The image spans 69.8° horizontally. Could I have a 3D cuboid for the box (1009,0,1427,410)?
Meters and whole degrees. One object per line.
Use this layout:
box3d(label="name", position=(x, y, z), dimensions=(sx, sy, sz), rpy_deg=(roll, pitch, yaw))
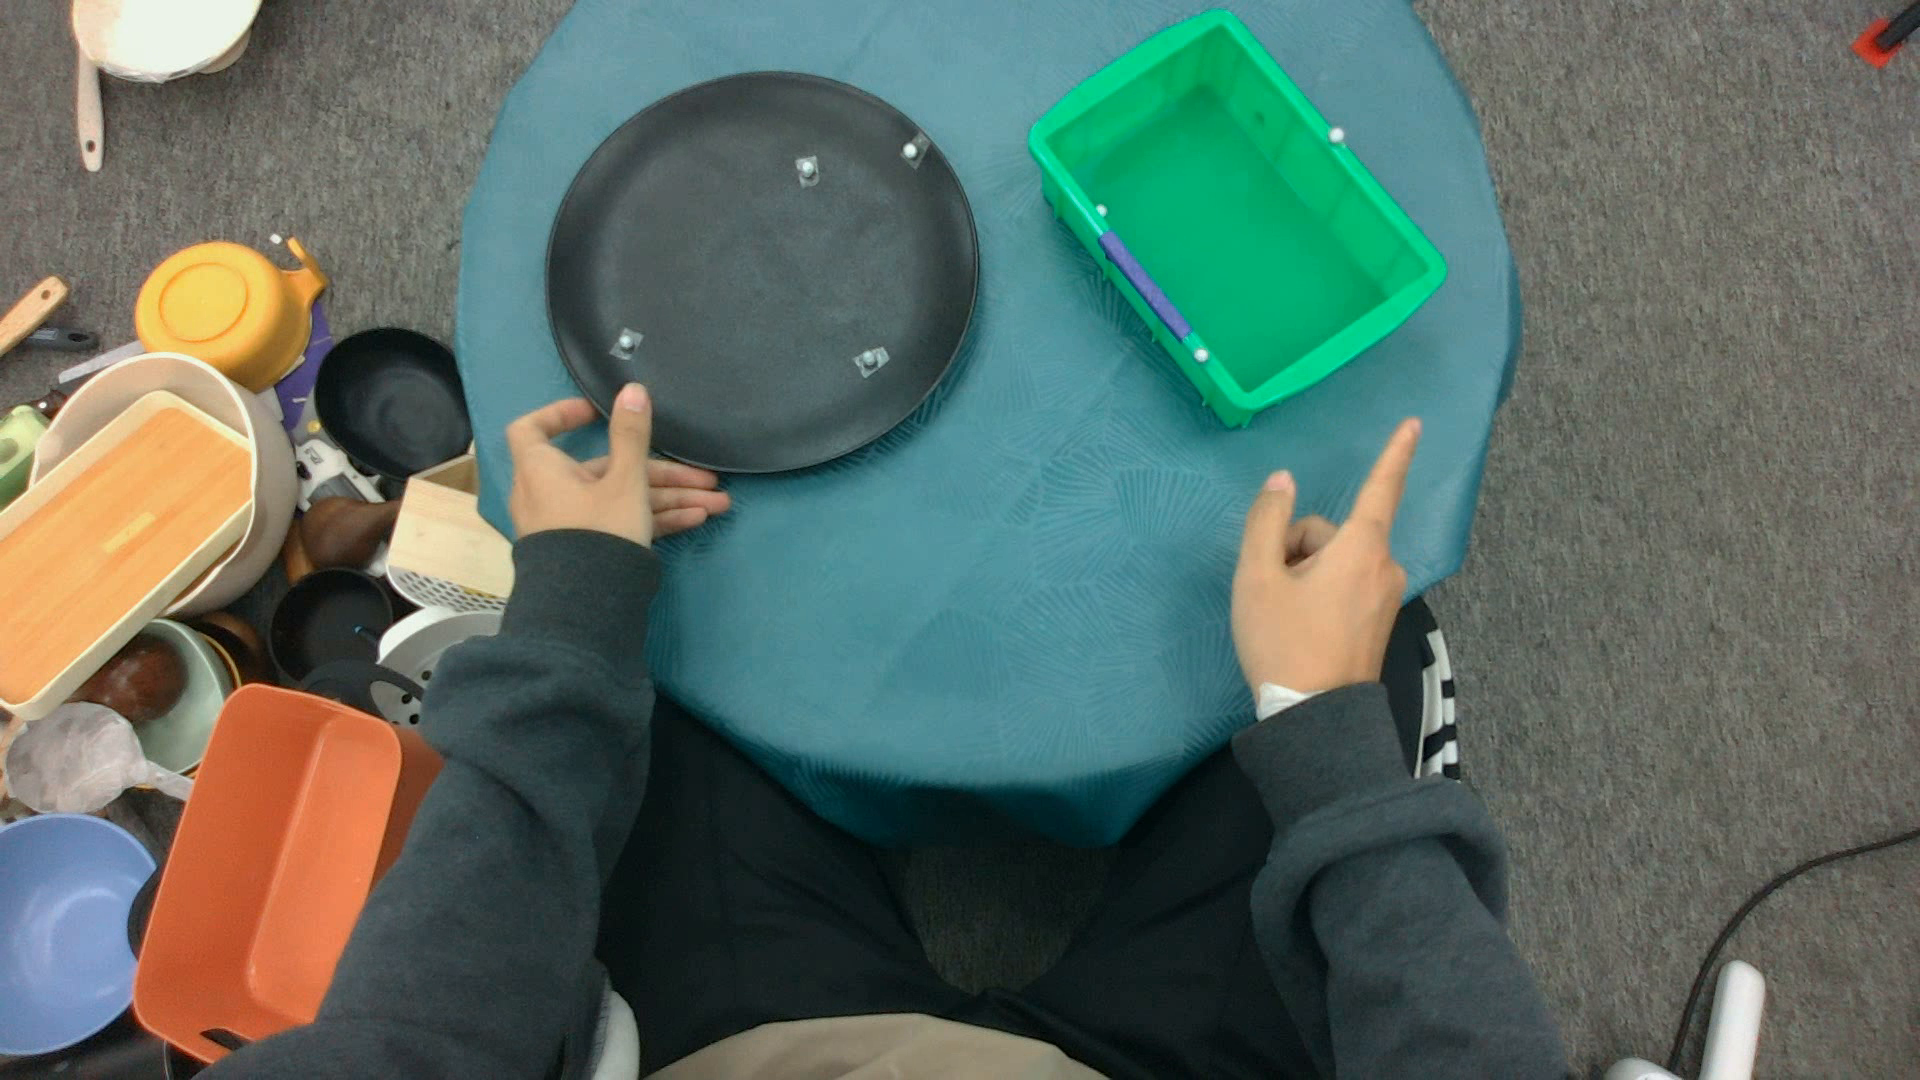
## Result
box3d(label="box", position=(0.136, -0.181, 0.757), dimensions=(0.139, 0.065, 0.210), rpy_deg=(-36, 80, -6))

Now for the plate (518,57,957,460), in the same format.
box3d(label="plate", position=(-0.123, -0.158, 0.774), dimensions=(0.244, 0.023, 0.245), rpy_deg=(0, 76, 0))
